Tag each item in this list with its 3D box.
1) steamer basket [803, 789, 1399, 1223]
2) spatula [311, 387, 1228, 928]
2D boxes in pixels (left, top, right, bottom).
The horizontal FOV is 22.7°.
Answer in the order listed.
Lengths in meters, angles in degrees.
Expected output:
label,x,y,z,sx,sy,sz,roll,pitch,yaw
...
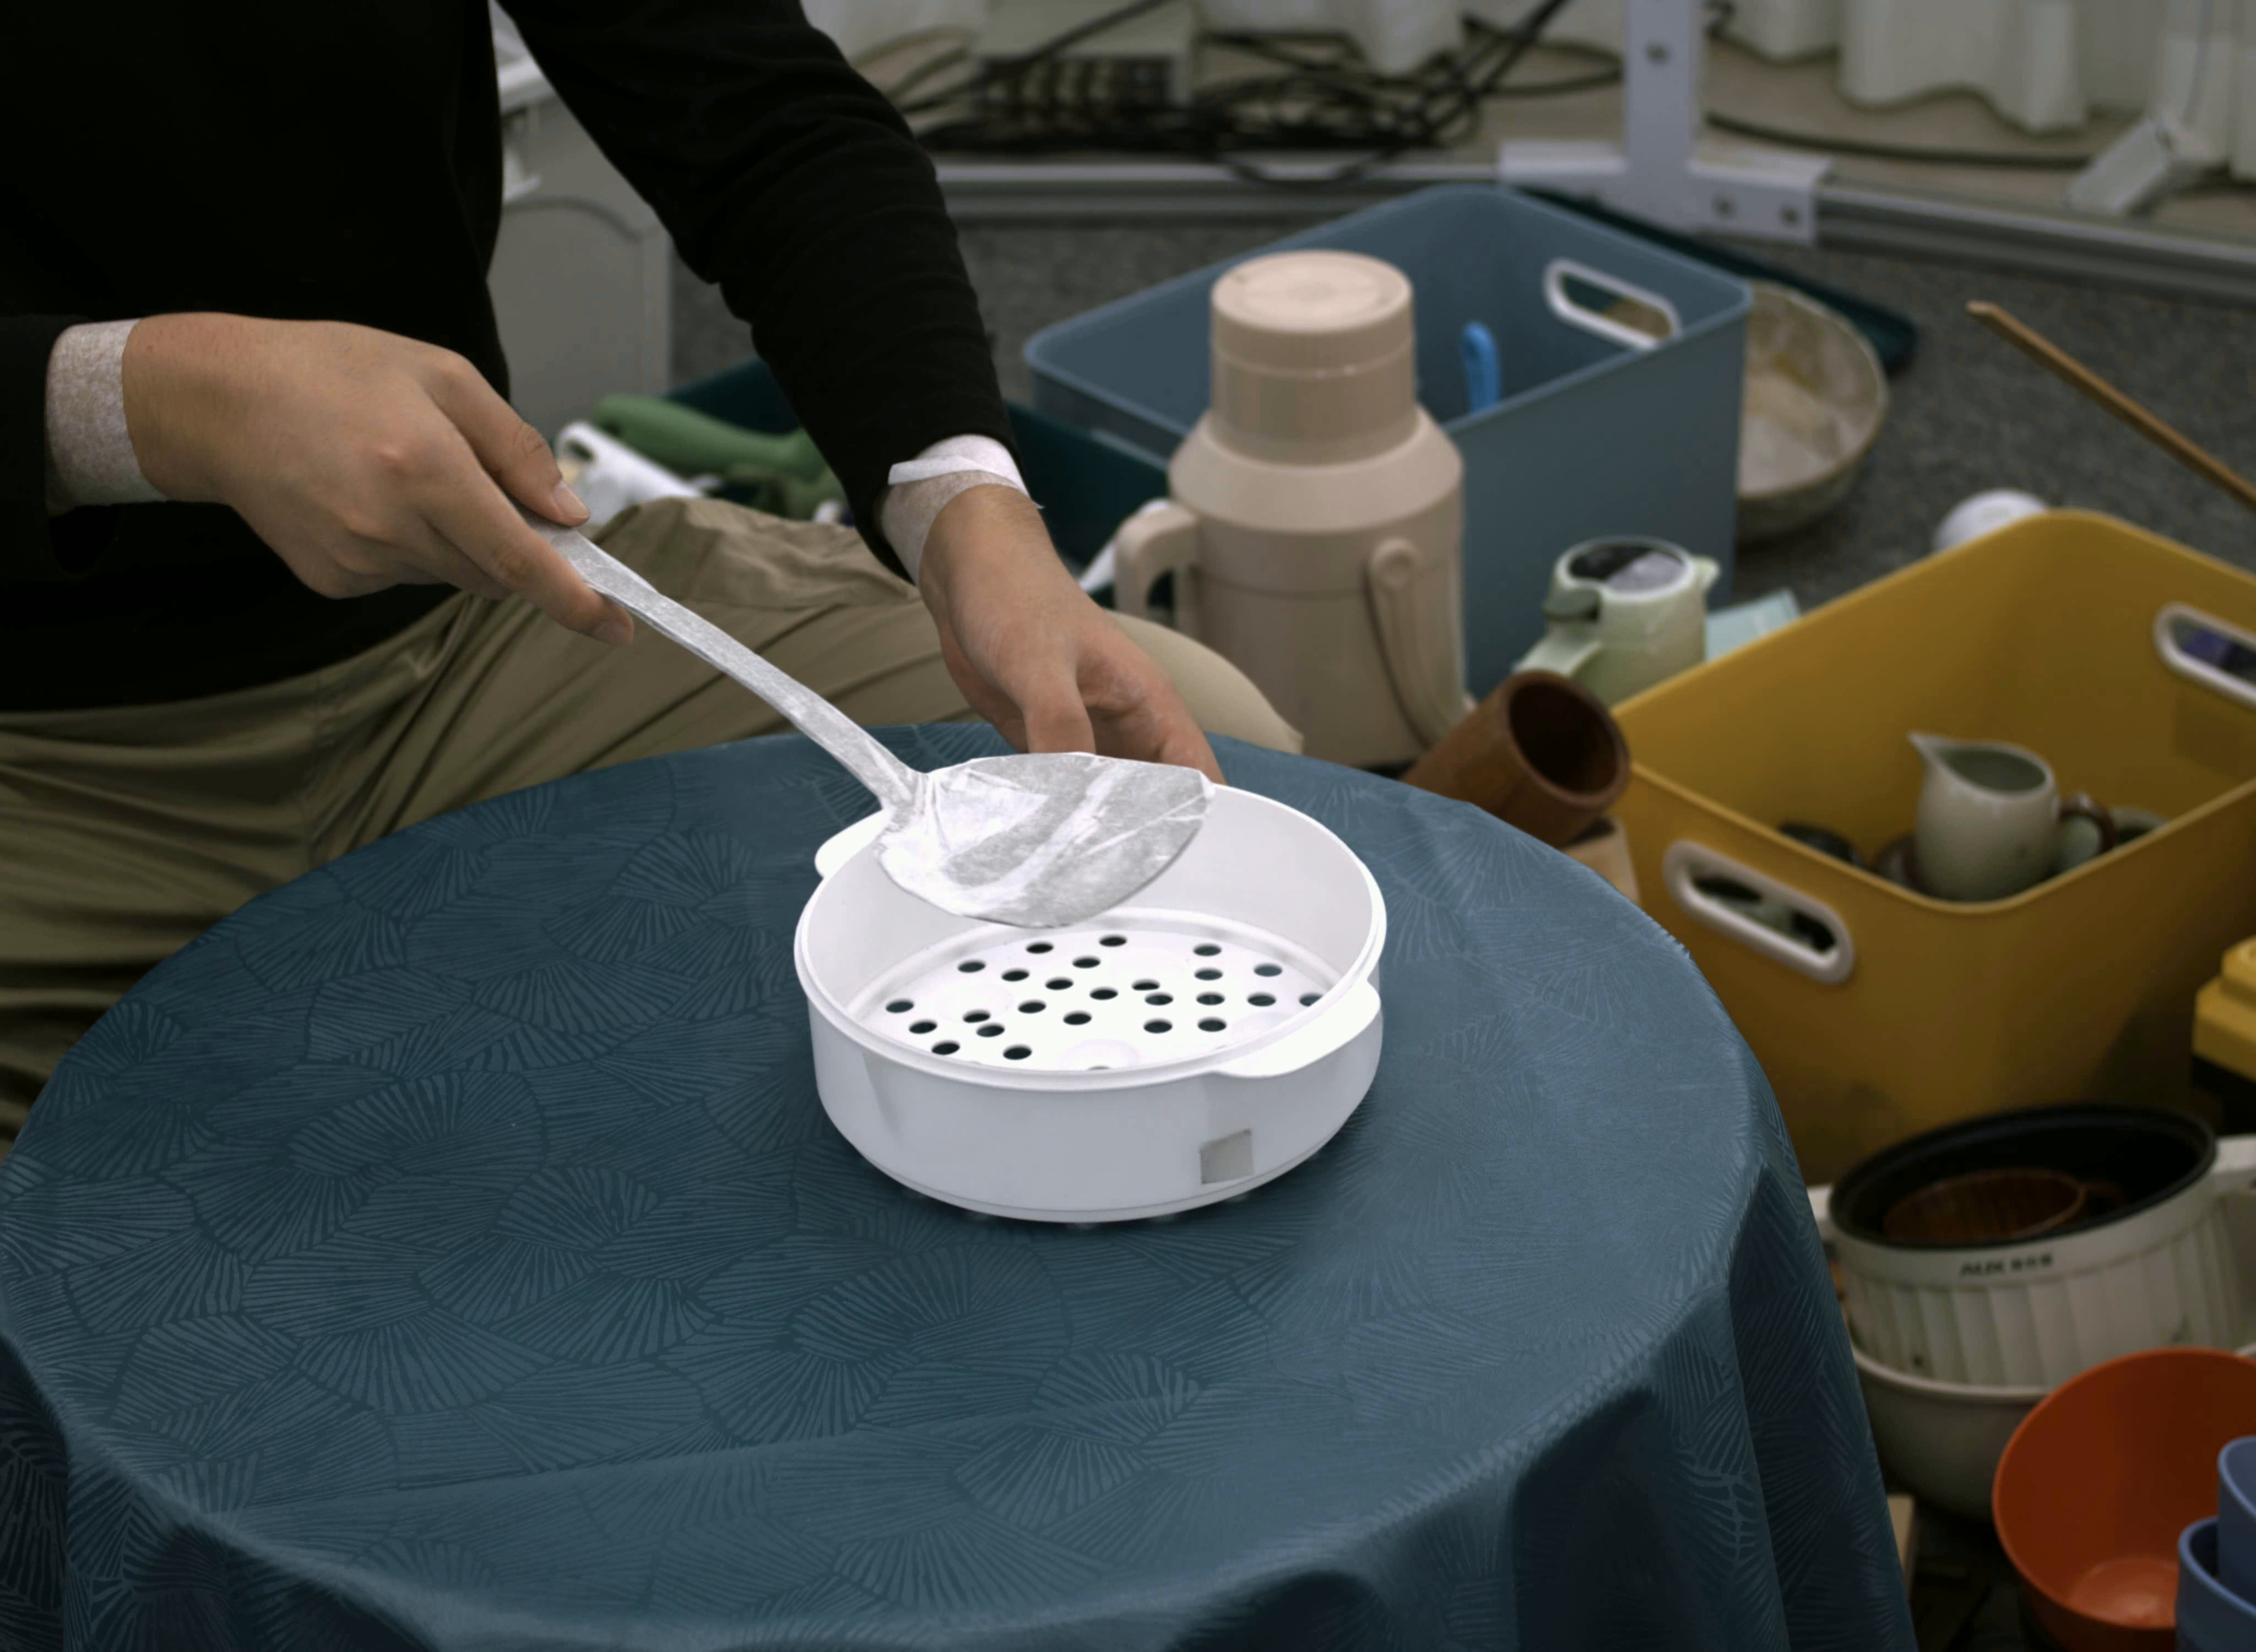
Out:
label,x,y,z,sx,sy,sz,roll,pitch,yaw
steamer basket,-0.008,0.060,1.901,0.204,0.068,0.230,-26,36,-37
spatula,-0.134,-0.066,1.838,0.365,0.044,0.100,32,48,18
